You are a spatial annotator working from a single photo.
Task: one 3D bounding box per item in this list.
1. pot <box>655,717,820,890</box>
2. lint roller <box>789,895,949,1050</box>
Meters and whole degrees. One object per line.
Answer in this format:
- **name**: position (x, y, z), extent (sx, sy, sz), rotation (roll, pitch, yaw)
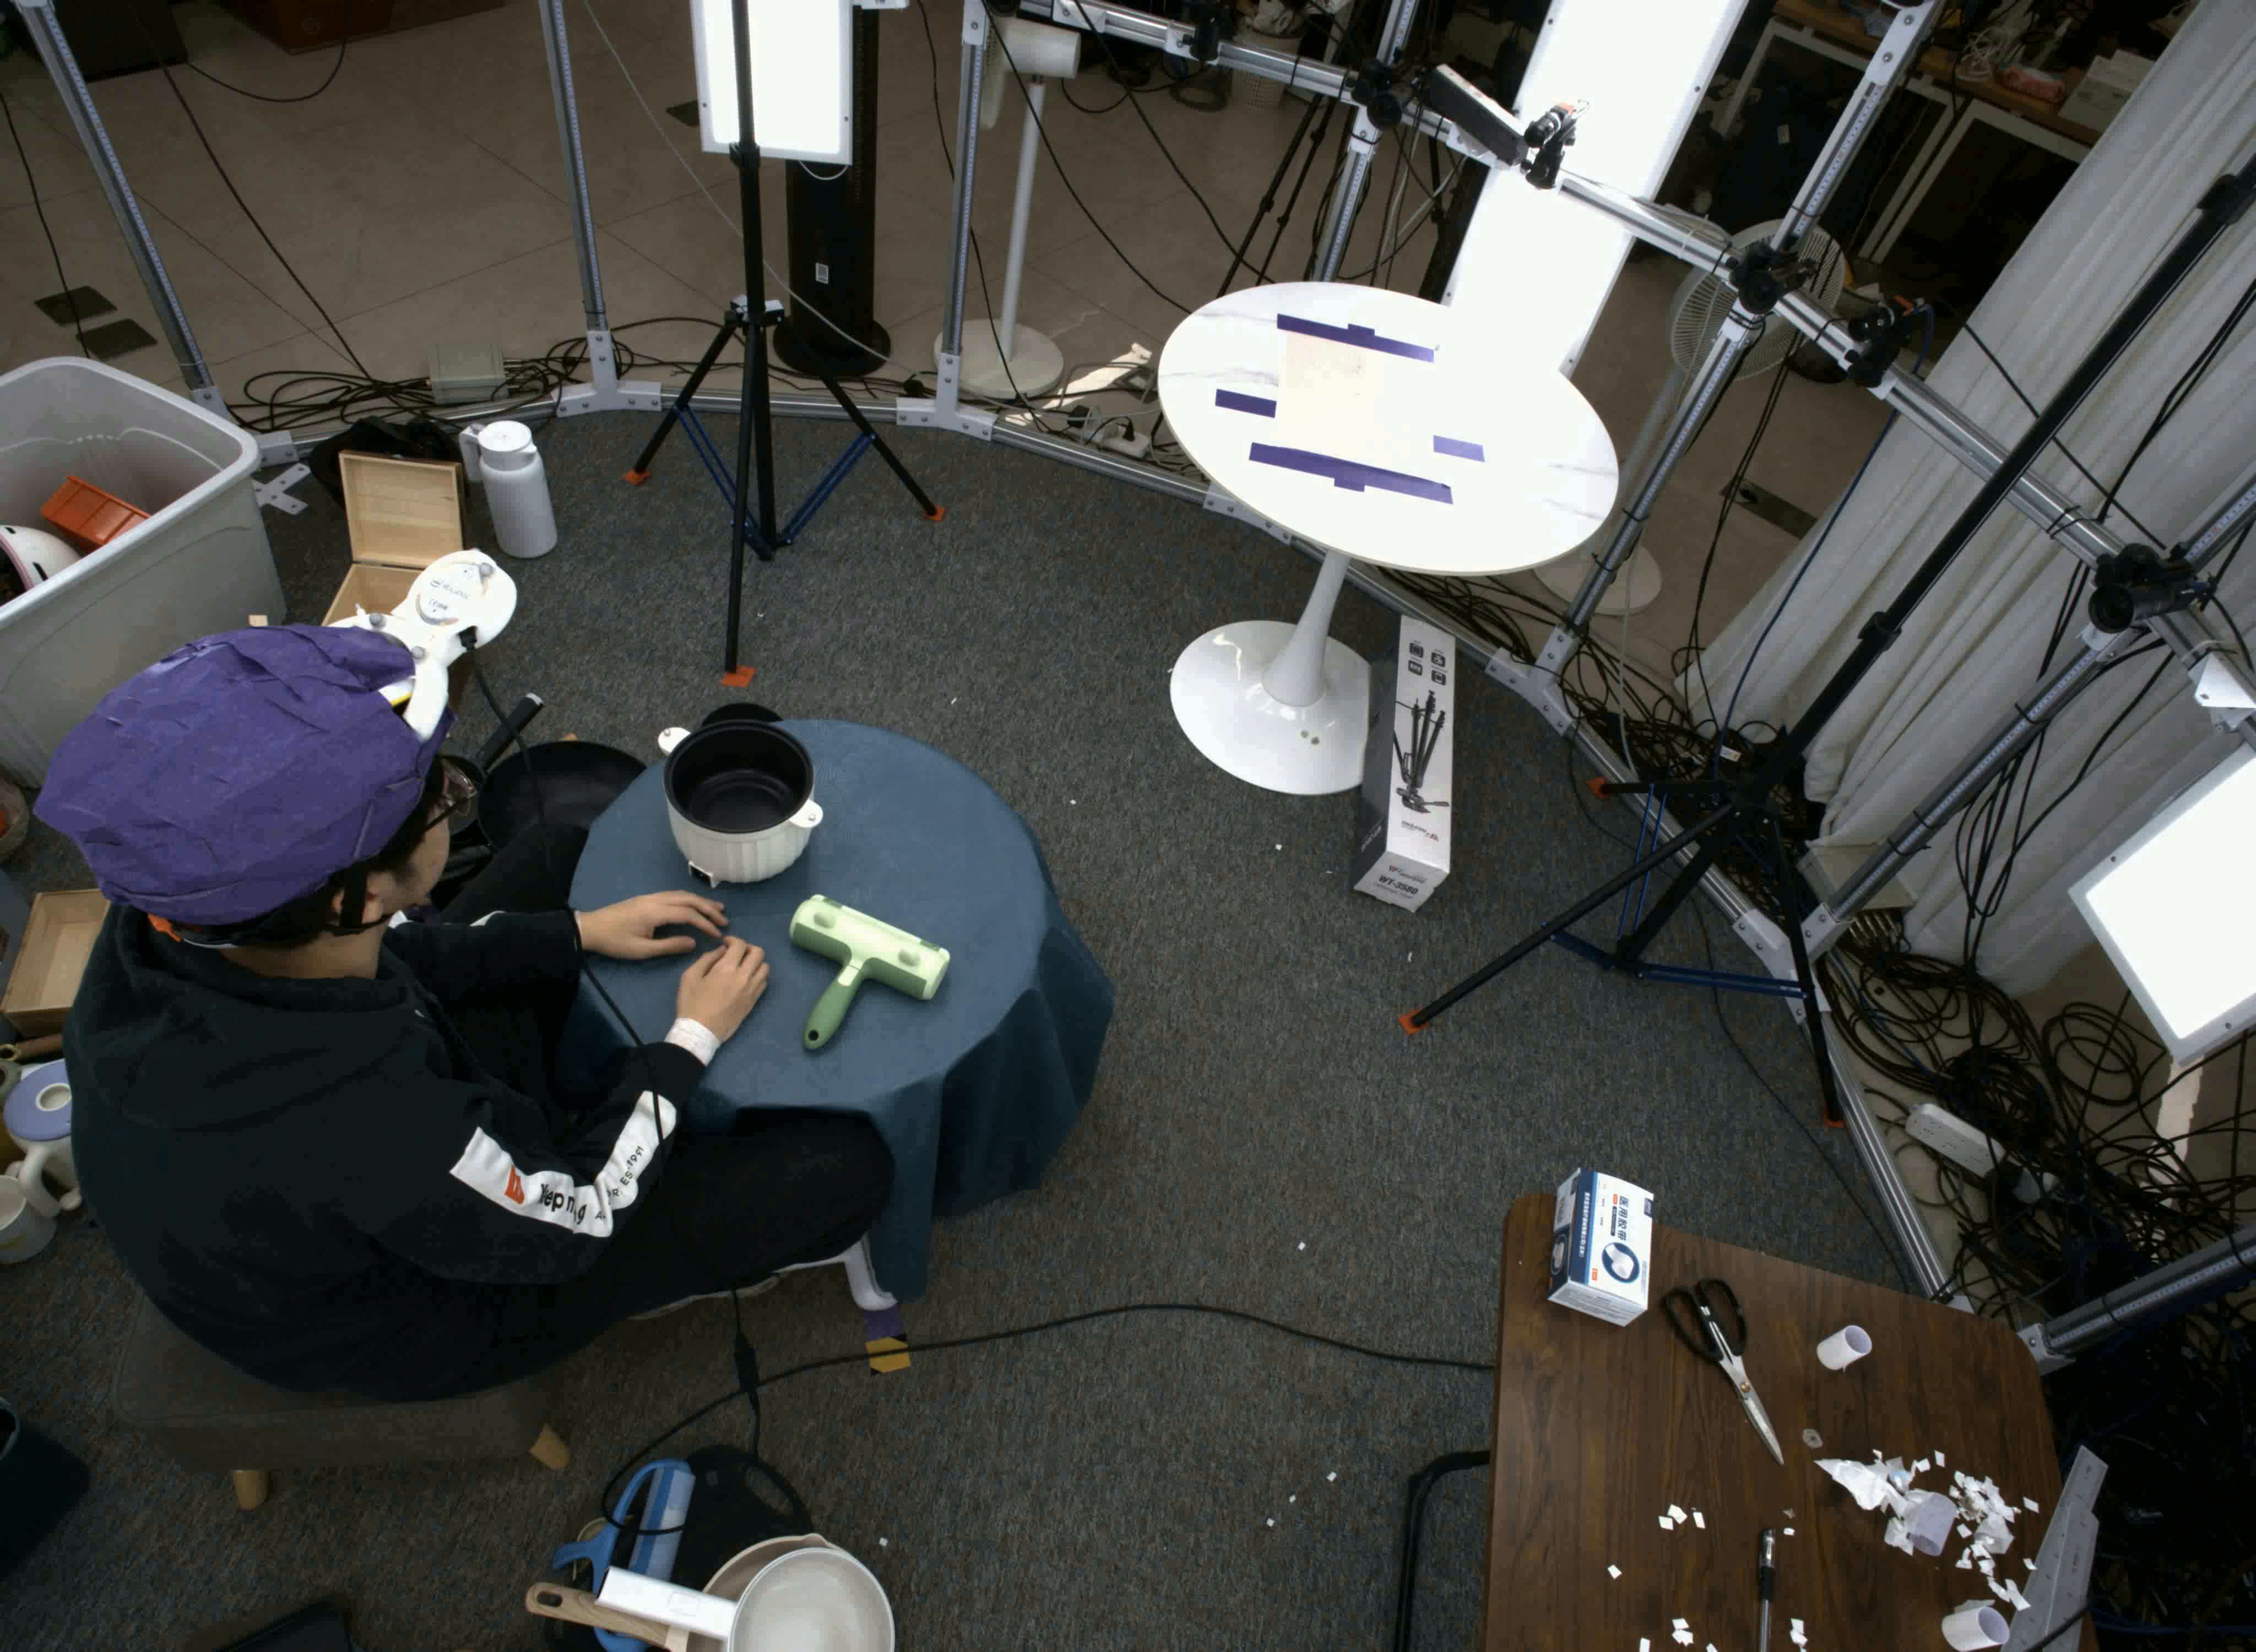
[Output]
- **pot**: position (-0.491, -0.029, 1.645), extent (0.237, 0.145, 0.189), rotation (28, 55, 6)
- **lint roller**: position (-0.341, 0.180, 1.570), extent (0.196, 0.084, 0.182), rotation (24, 47, 3)
